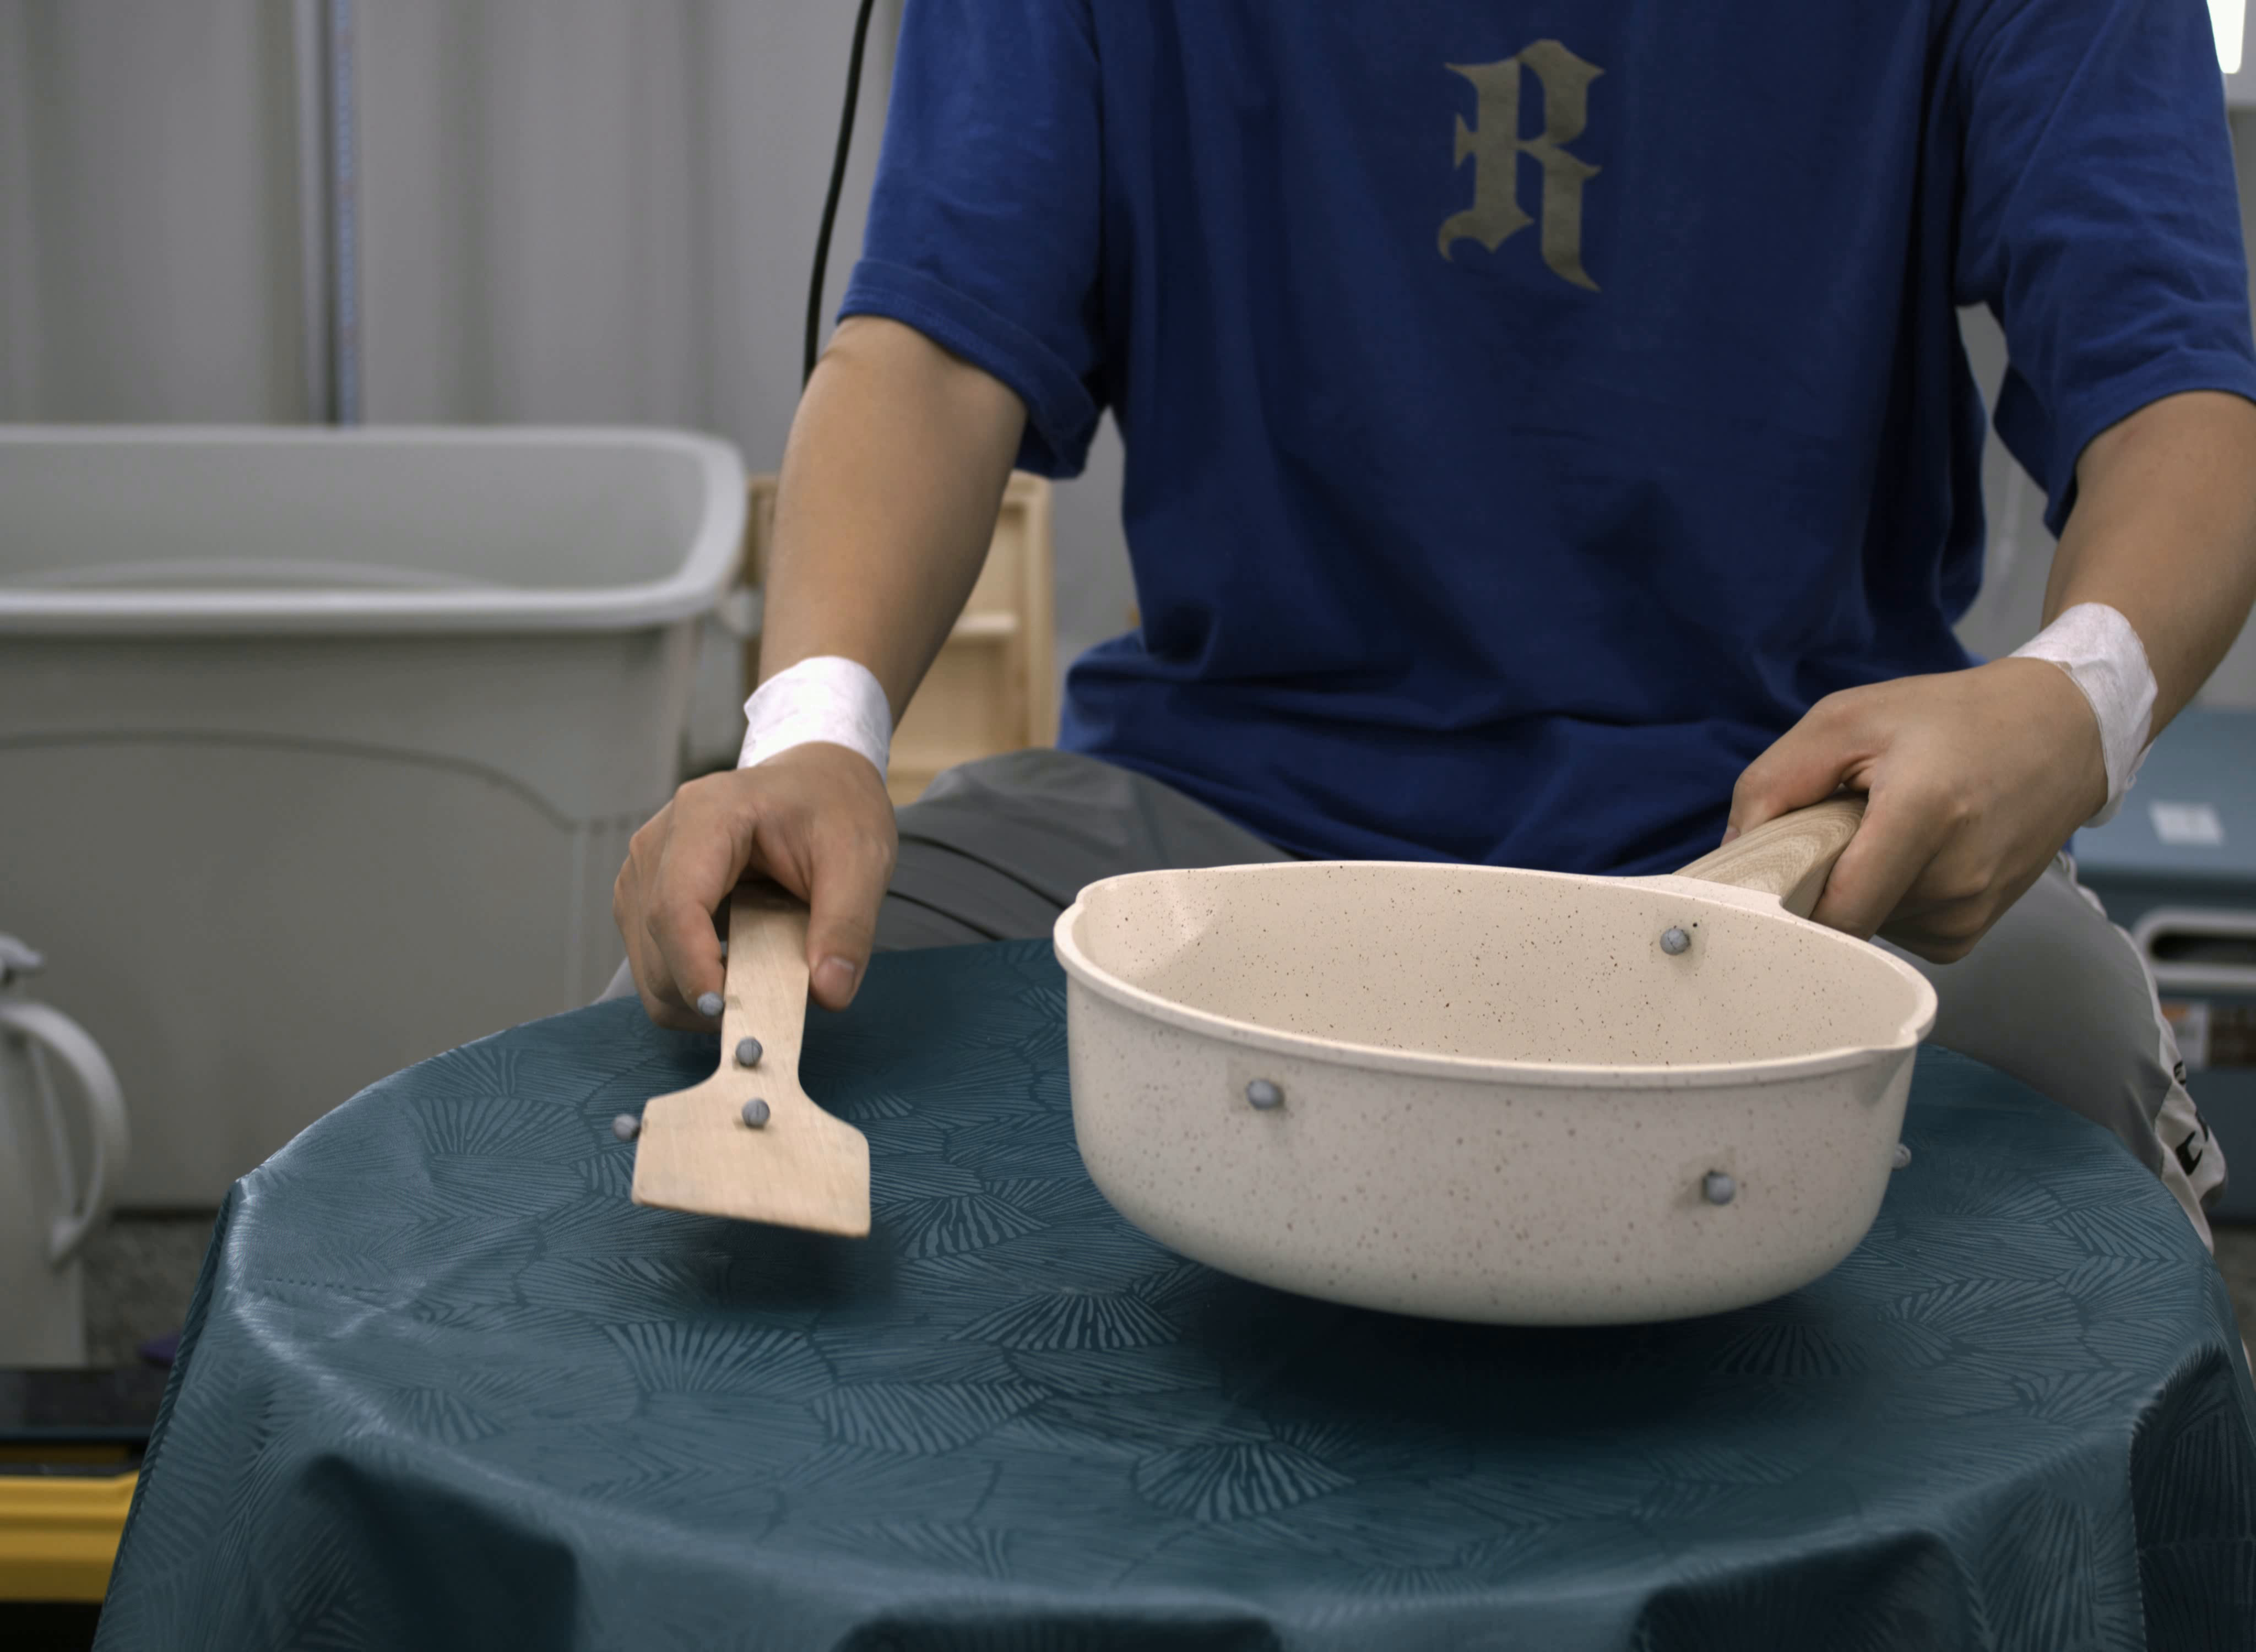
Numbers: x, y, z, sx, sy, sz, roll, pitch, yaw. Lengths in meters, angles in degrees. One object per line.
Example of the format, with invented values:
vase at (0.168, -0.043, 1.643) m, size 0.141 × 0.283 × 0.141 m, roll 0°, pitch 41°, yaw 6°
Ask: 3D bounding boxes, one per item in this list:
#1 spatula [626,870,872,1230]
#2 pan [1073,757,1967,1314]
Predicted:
spatula at (-0.115, 0.065, 1.648) m, size 0.072 × 0.011 × 0.291 m, roll 8°, pitch 19°, yaw -5°
pan at (0.155, 0.055, 1.574) m, size 0.260 × 0.102 × 0.437 m, roll 9°, pitch 12°, yaw 30°
